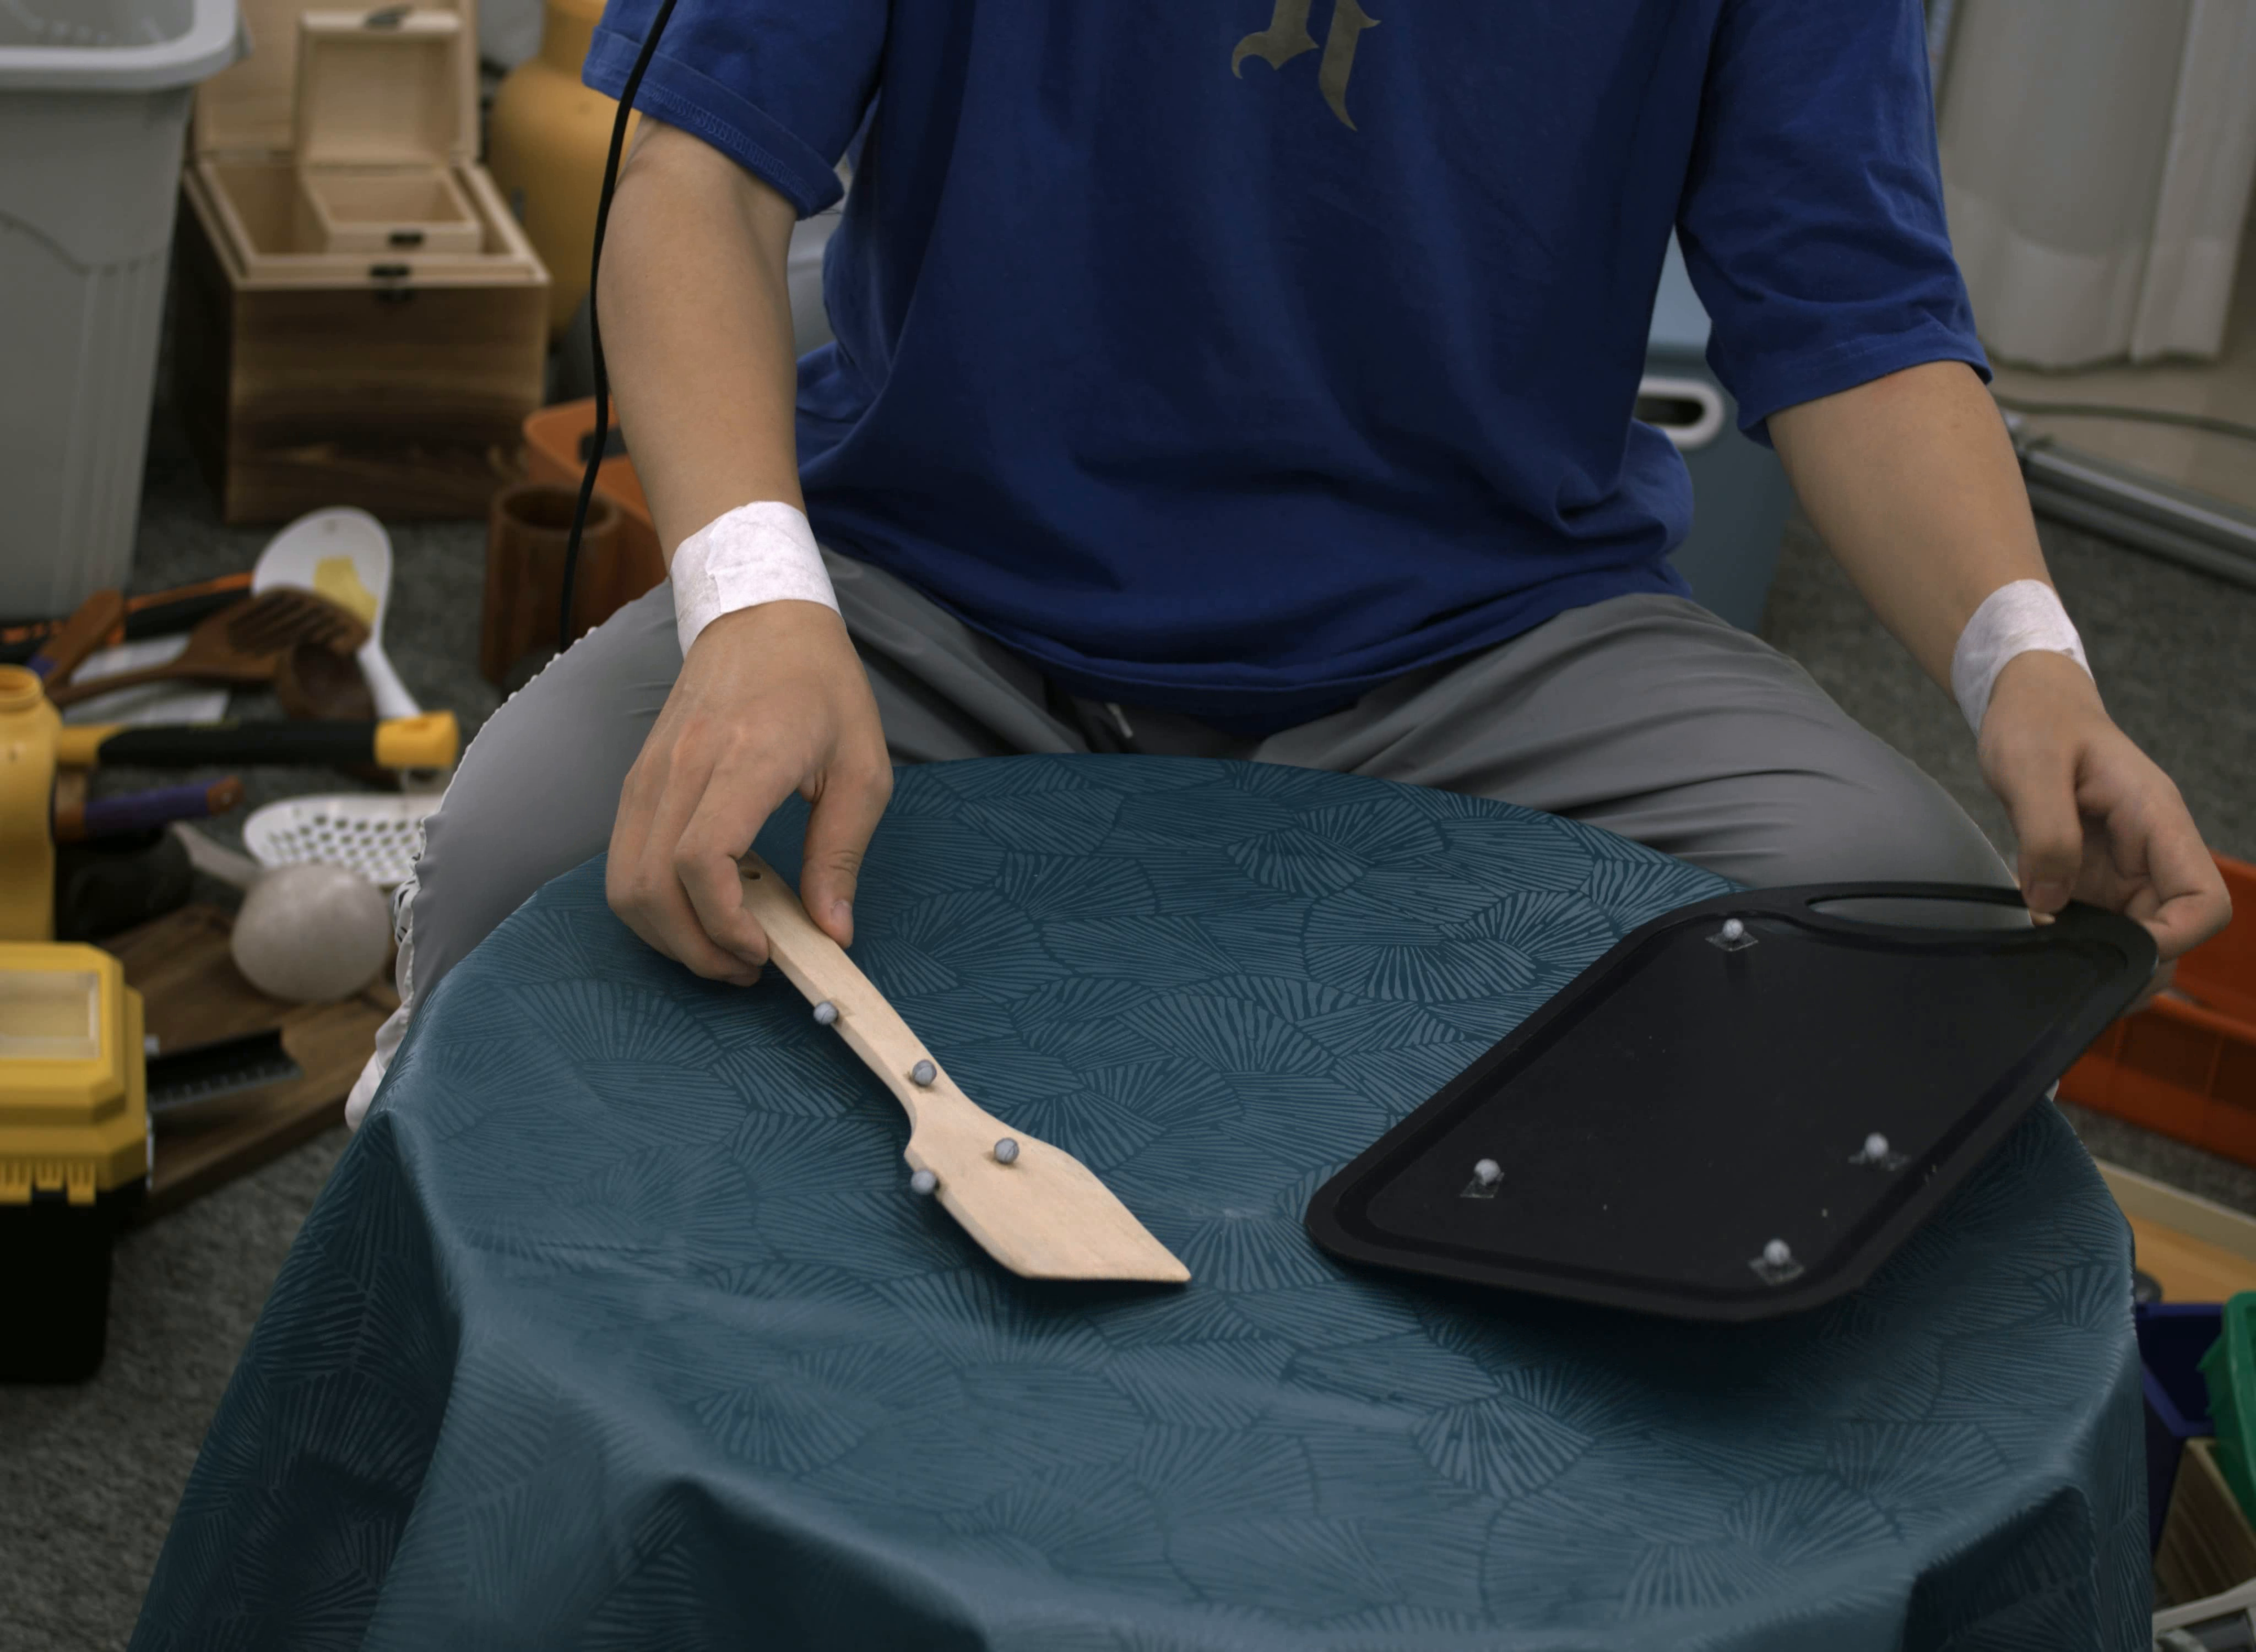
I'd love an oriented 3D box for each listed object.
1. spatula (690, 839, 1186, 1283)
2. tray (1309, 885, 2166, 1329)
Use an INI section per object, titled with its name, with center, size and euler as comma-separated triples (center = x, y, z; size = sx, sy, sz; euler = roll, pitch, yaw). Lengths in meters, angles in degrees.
[spatula]
center = -0.080, 0.078, 1.839
size = 0.071, 0.010, 0.296
euler = 2, 28, -35
[tray]
center = 0.217, 0.087, 1.843
size = 0.212, 0.010, 0.325
euler = 8, 27, 35
